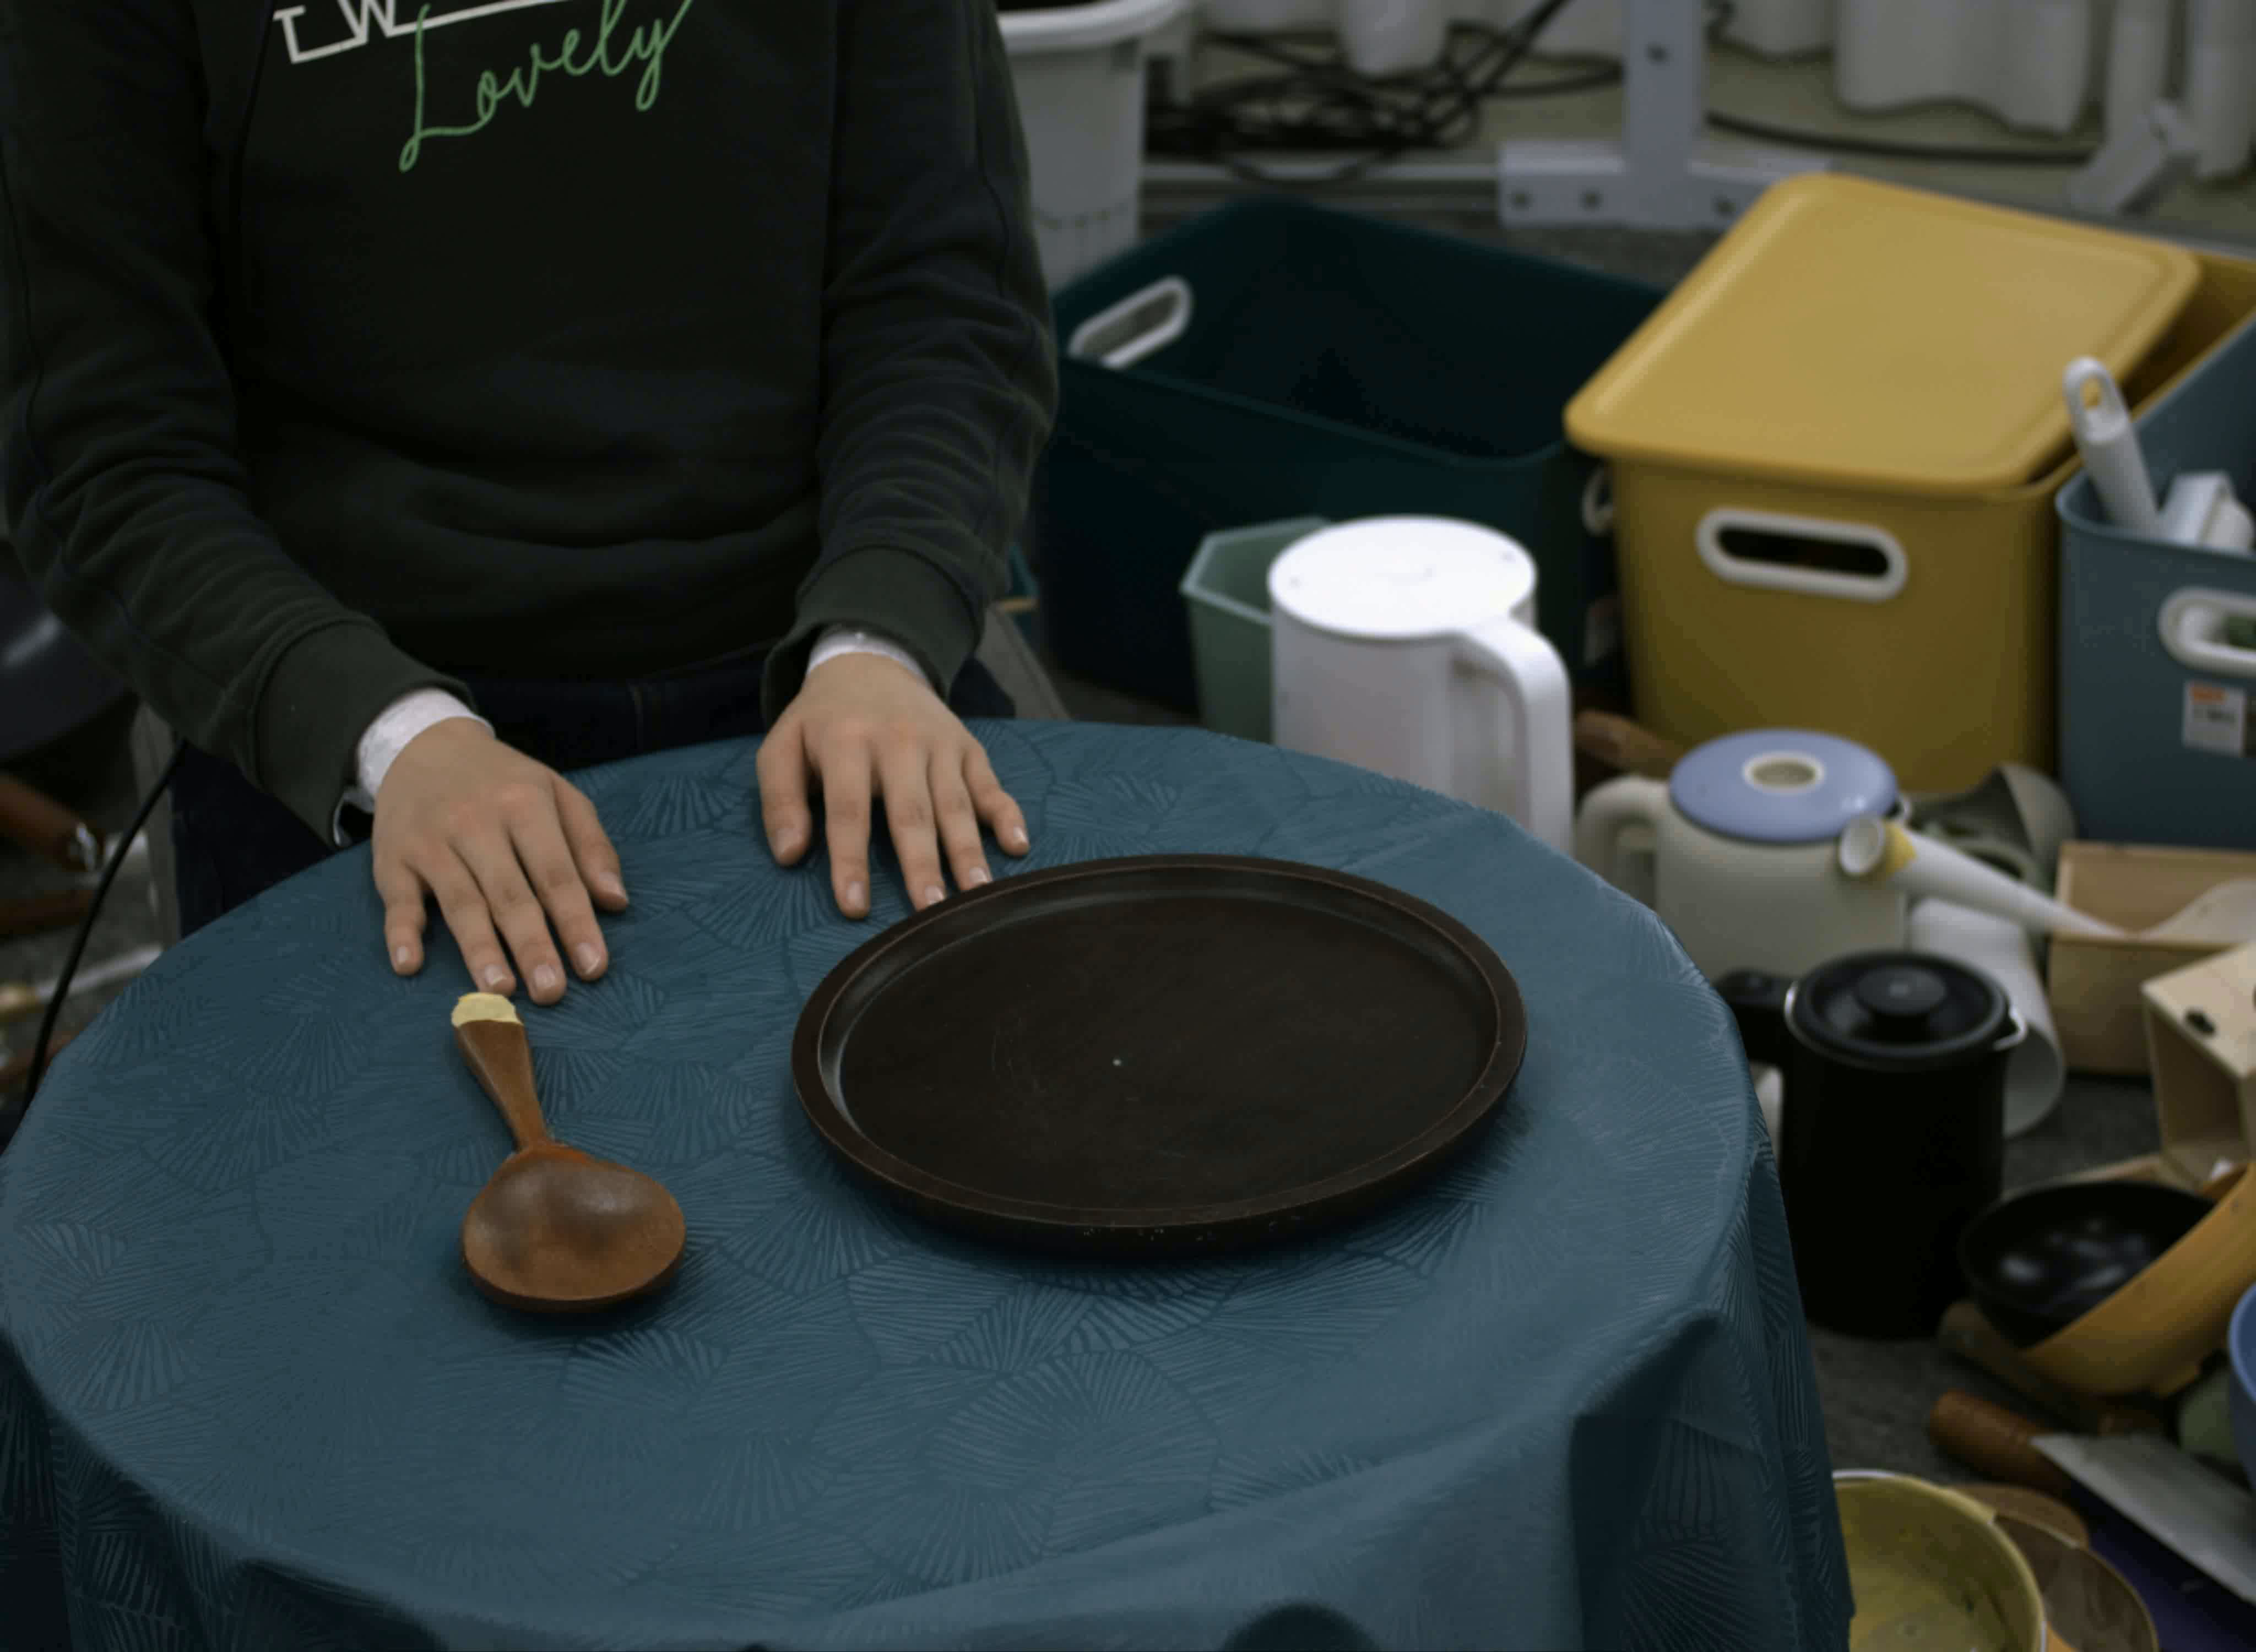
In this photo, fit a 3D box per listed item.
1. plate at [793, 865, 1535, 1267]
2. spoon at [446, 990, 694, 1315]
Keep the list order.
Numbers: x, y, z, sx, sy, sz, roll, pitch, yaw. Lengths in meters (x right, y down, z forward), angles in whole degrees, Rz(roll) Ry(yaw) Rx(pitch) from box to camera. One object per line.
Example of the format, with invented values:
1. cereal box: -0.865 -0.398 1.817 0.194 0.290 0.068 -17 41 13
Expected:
1. plate: 0.012 0.079 1.918 0.253 0.029 0.259 -2 28 1
2. spoon: -0.197 0.110 1.885 0.075 0.017 0.218 -10 28 -13
